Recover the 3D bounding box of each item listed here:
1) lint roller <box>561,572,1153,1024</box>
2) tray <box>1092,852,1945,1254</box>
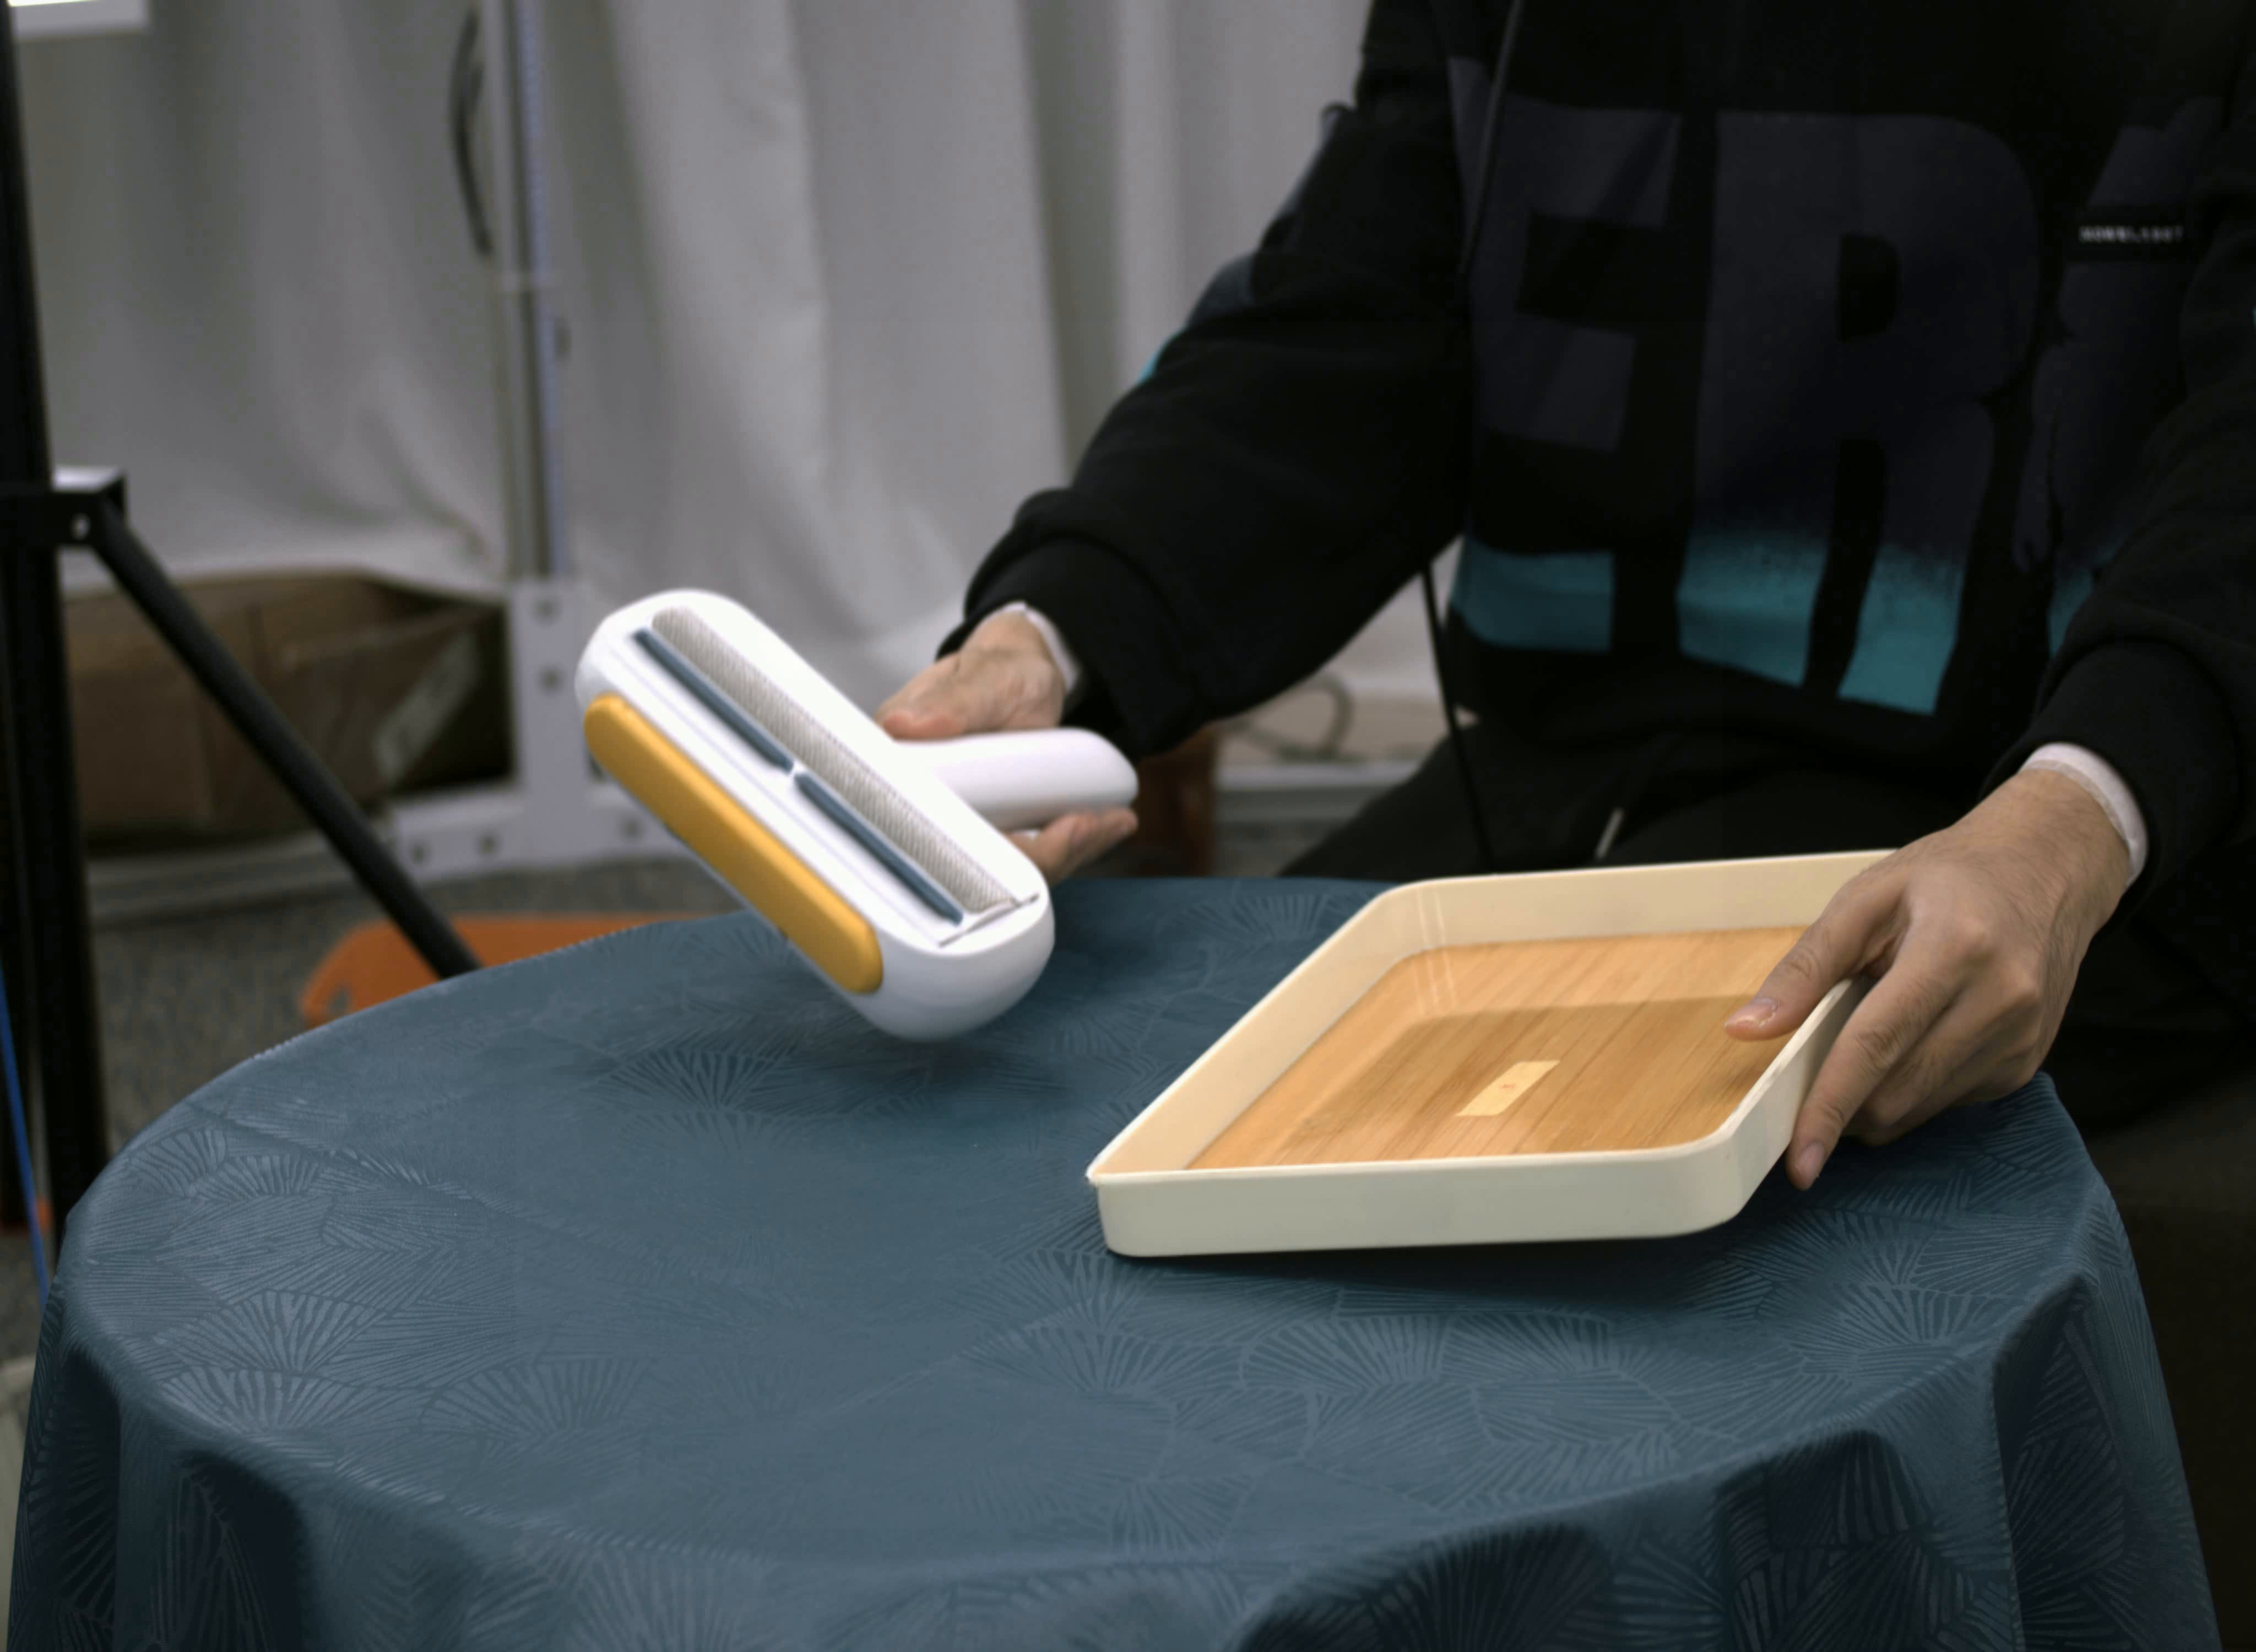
[{"bbox_3d":[-0.066,-0.016,1.744,0.188,0.074,0.197,-15,42,-39],"label":"lint roller"},{"bbox_3d":[0.125,0.066,1.591,0.194,0.027,0.296,-4,15,23],"label":"tray"}]
